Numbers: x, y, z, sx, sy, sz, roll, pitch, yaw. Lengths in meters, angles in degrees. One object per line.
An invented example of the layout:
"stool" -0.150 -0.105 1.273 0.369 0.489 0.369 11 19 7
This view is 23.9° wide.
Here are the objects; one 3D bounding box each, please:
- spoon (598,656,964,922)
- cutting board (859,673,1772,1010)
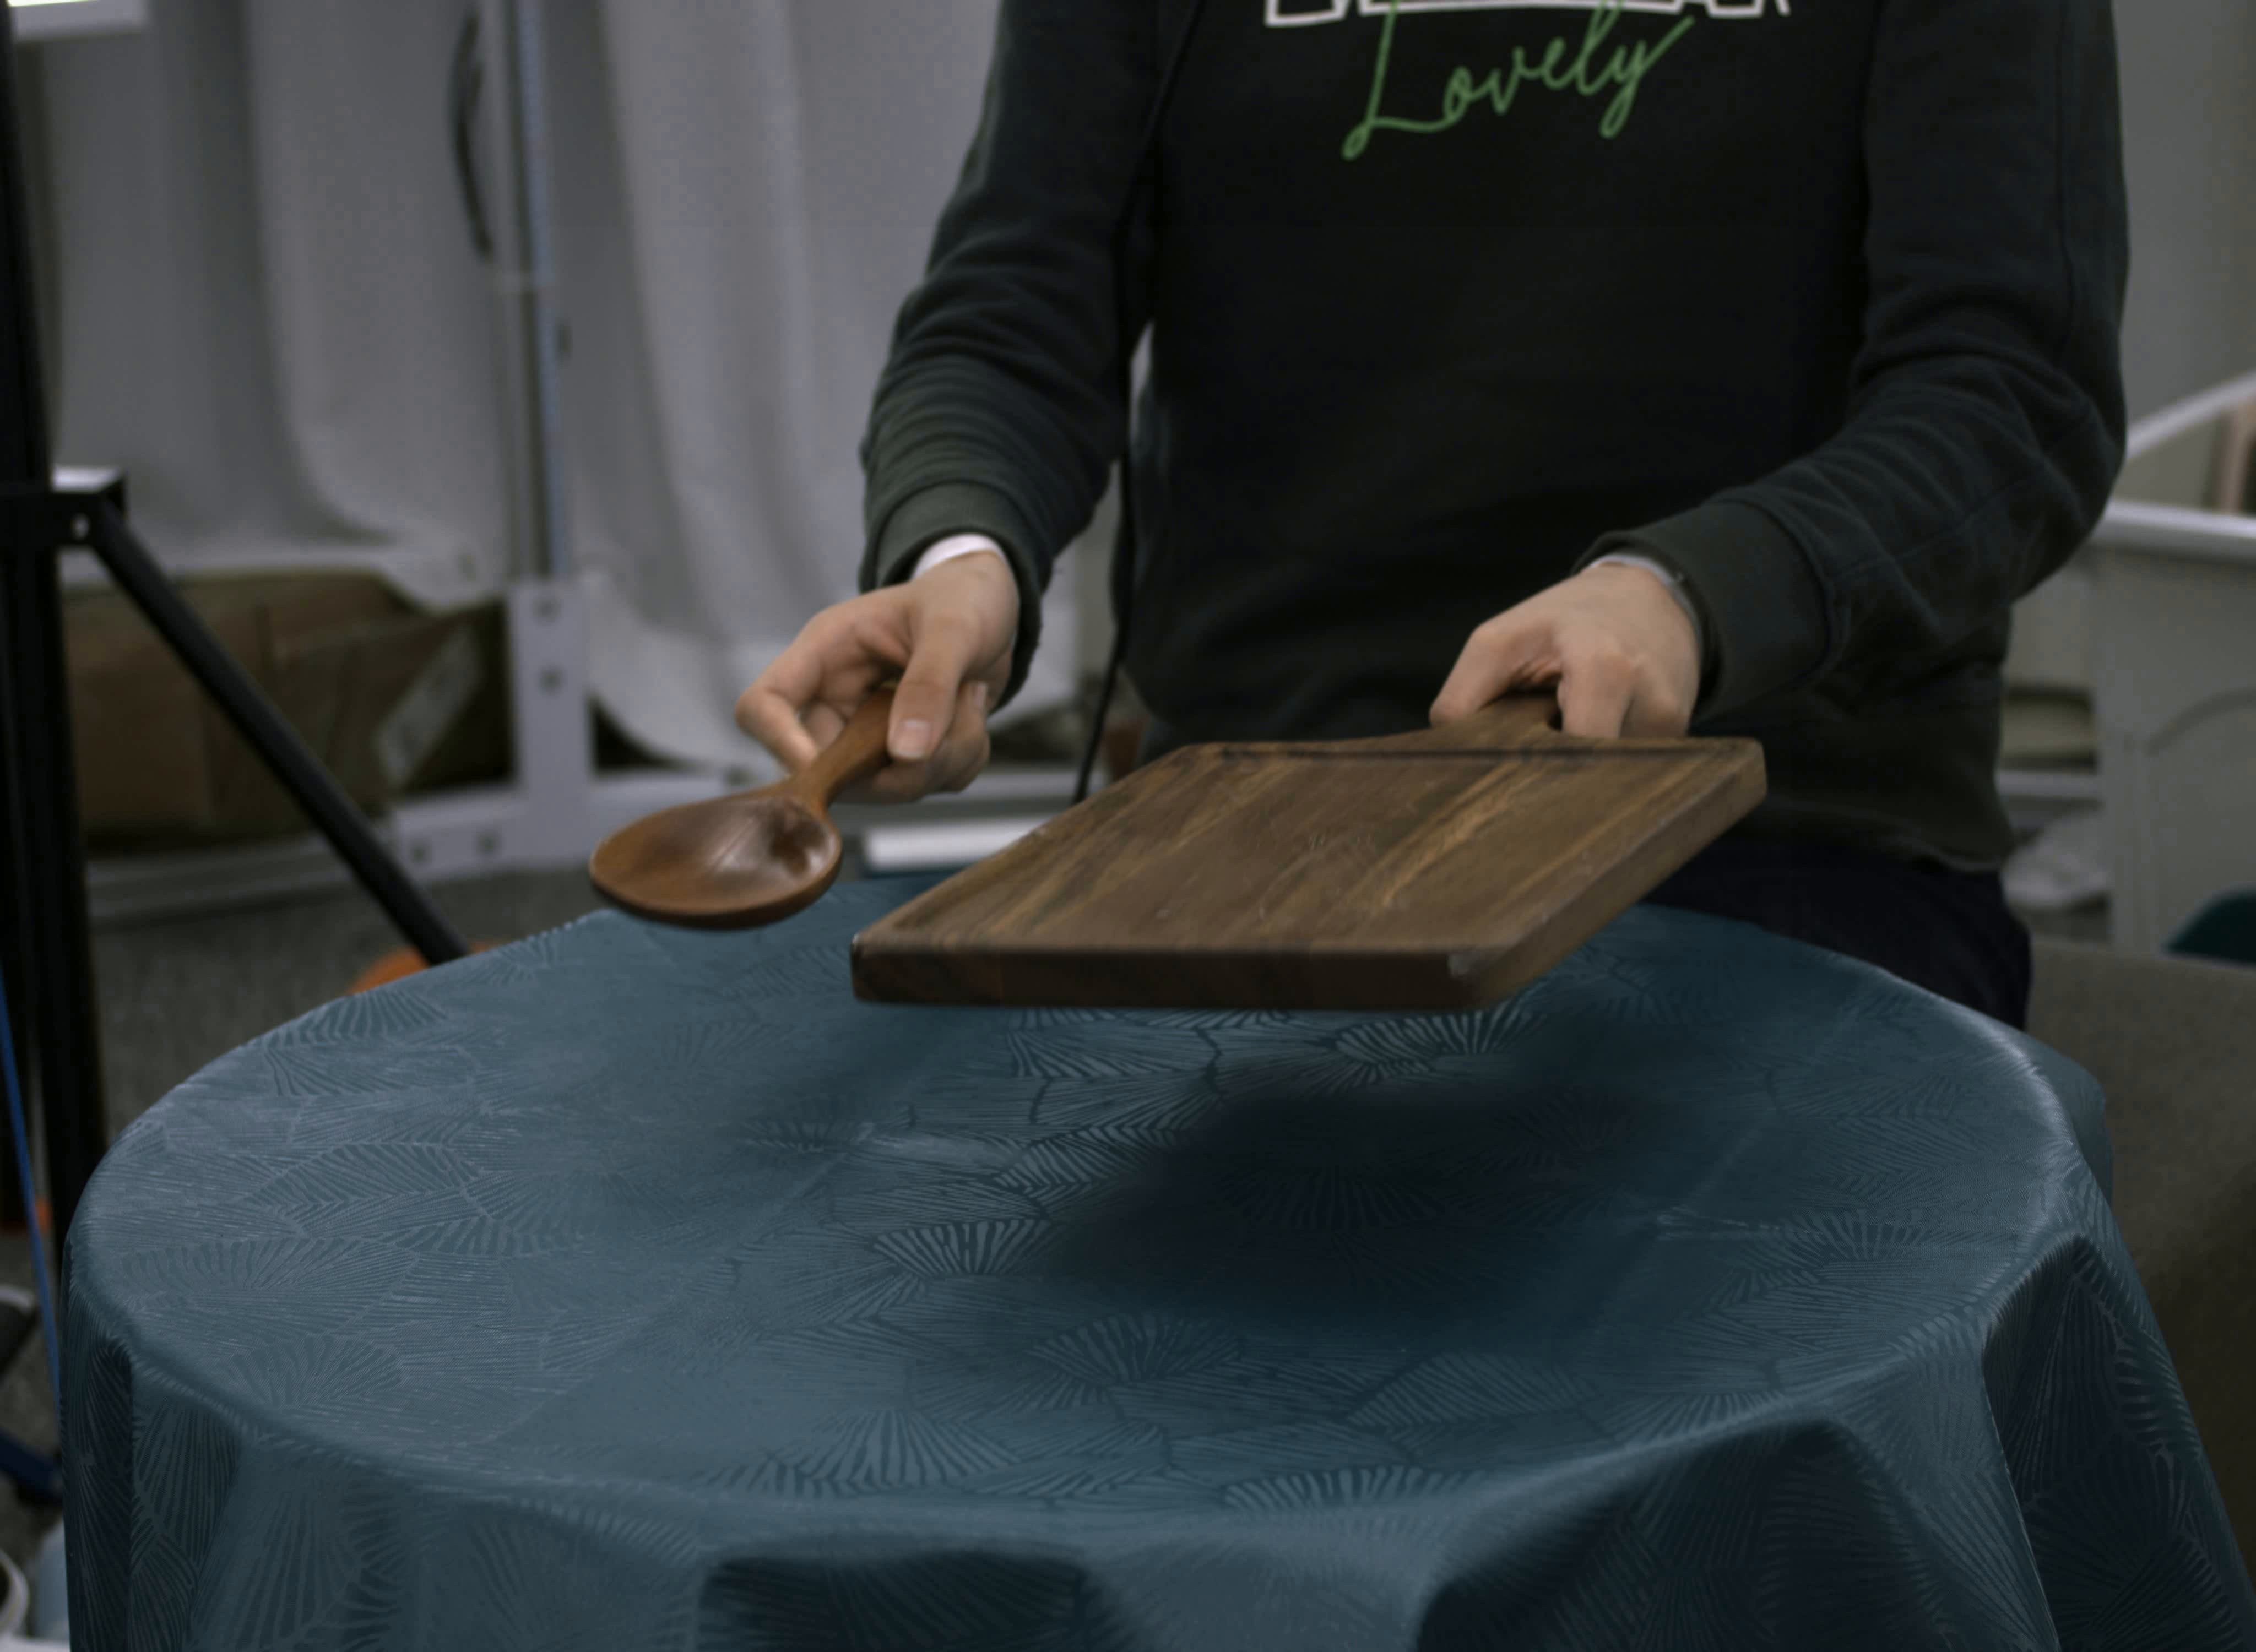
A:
"spoon" -0.099 -0.011 1.679 0.076 0.017 0.213 7 24 20
"cutting board" 0.079 0.000 1.582 0.204 0.023 0.347 -2 12 25
